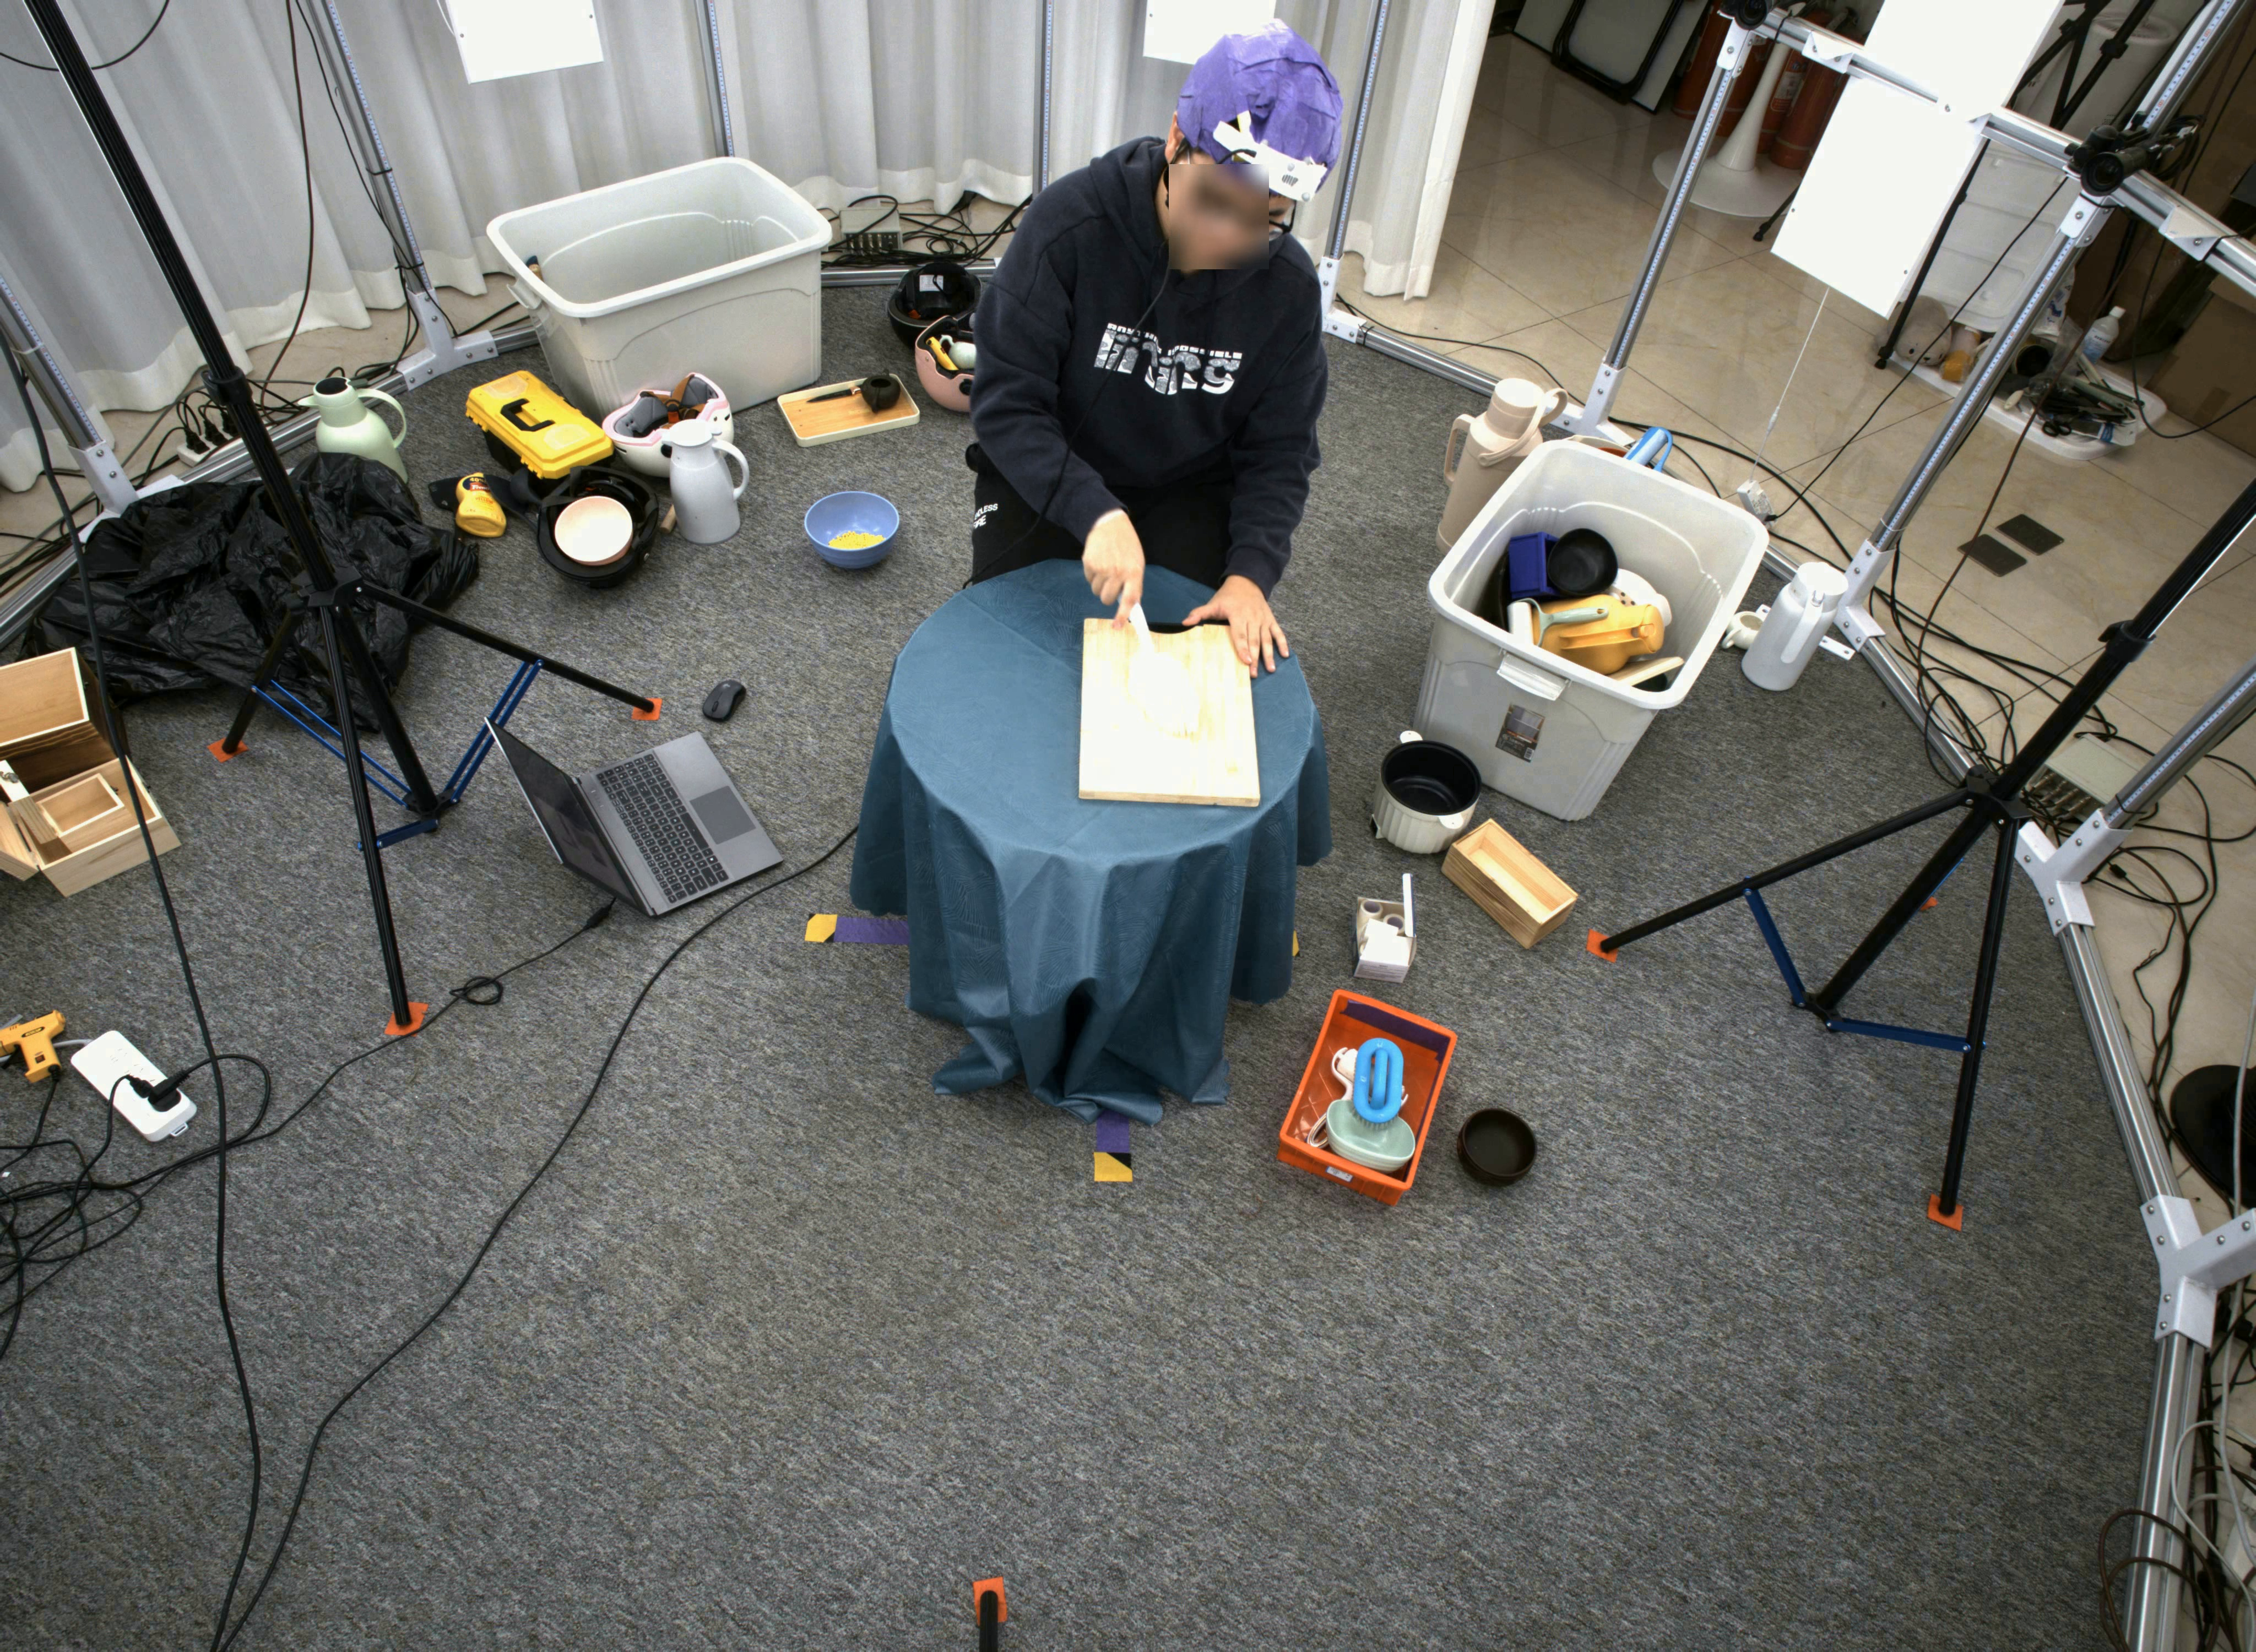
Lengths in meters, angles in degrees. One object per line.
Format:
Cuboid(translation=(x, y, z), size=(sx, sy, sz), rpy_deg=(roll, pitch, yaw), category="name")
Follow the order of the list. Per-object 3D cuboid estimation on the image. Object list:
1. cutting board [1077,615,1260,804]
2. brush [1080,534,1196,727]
Cuboid(translation=(0.055, -0.171, 1.808), size=(0.250, 0.023, 0.357), rpy_deg=(2, 49, -3), category="cutting board")
Cuboid(translation=(0.011, -0.273, 1.821), size=(0.083, 0.083, 0.331), rpy_deg=(-1, 56, -50), category="brush")
